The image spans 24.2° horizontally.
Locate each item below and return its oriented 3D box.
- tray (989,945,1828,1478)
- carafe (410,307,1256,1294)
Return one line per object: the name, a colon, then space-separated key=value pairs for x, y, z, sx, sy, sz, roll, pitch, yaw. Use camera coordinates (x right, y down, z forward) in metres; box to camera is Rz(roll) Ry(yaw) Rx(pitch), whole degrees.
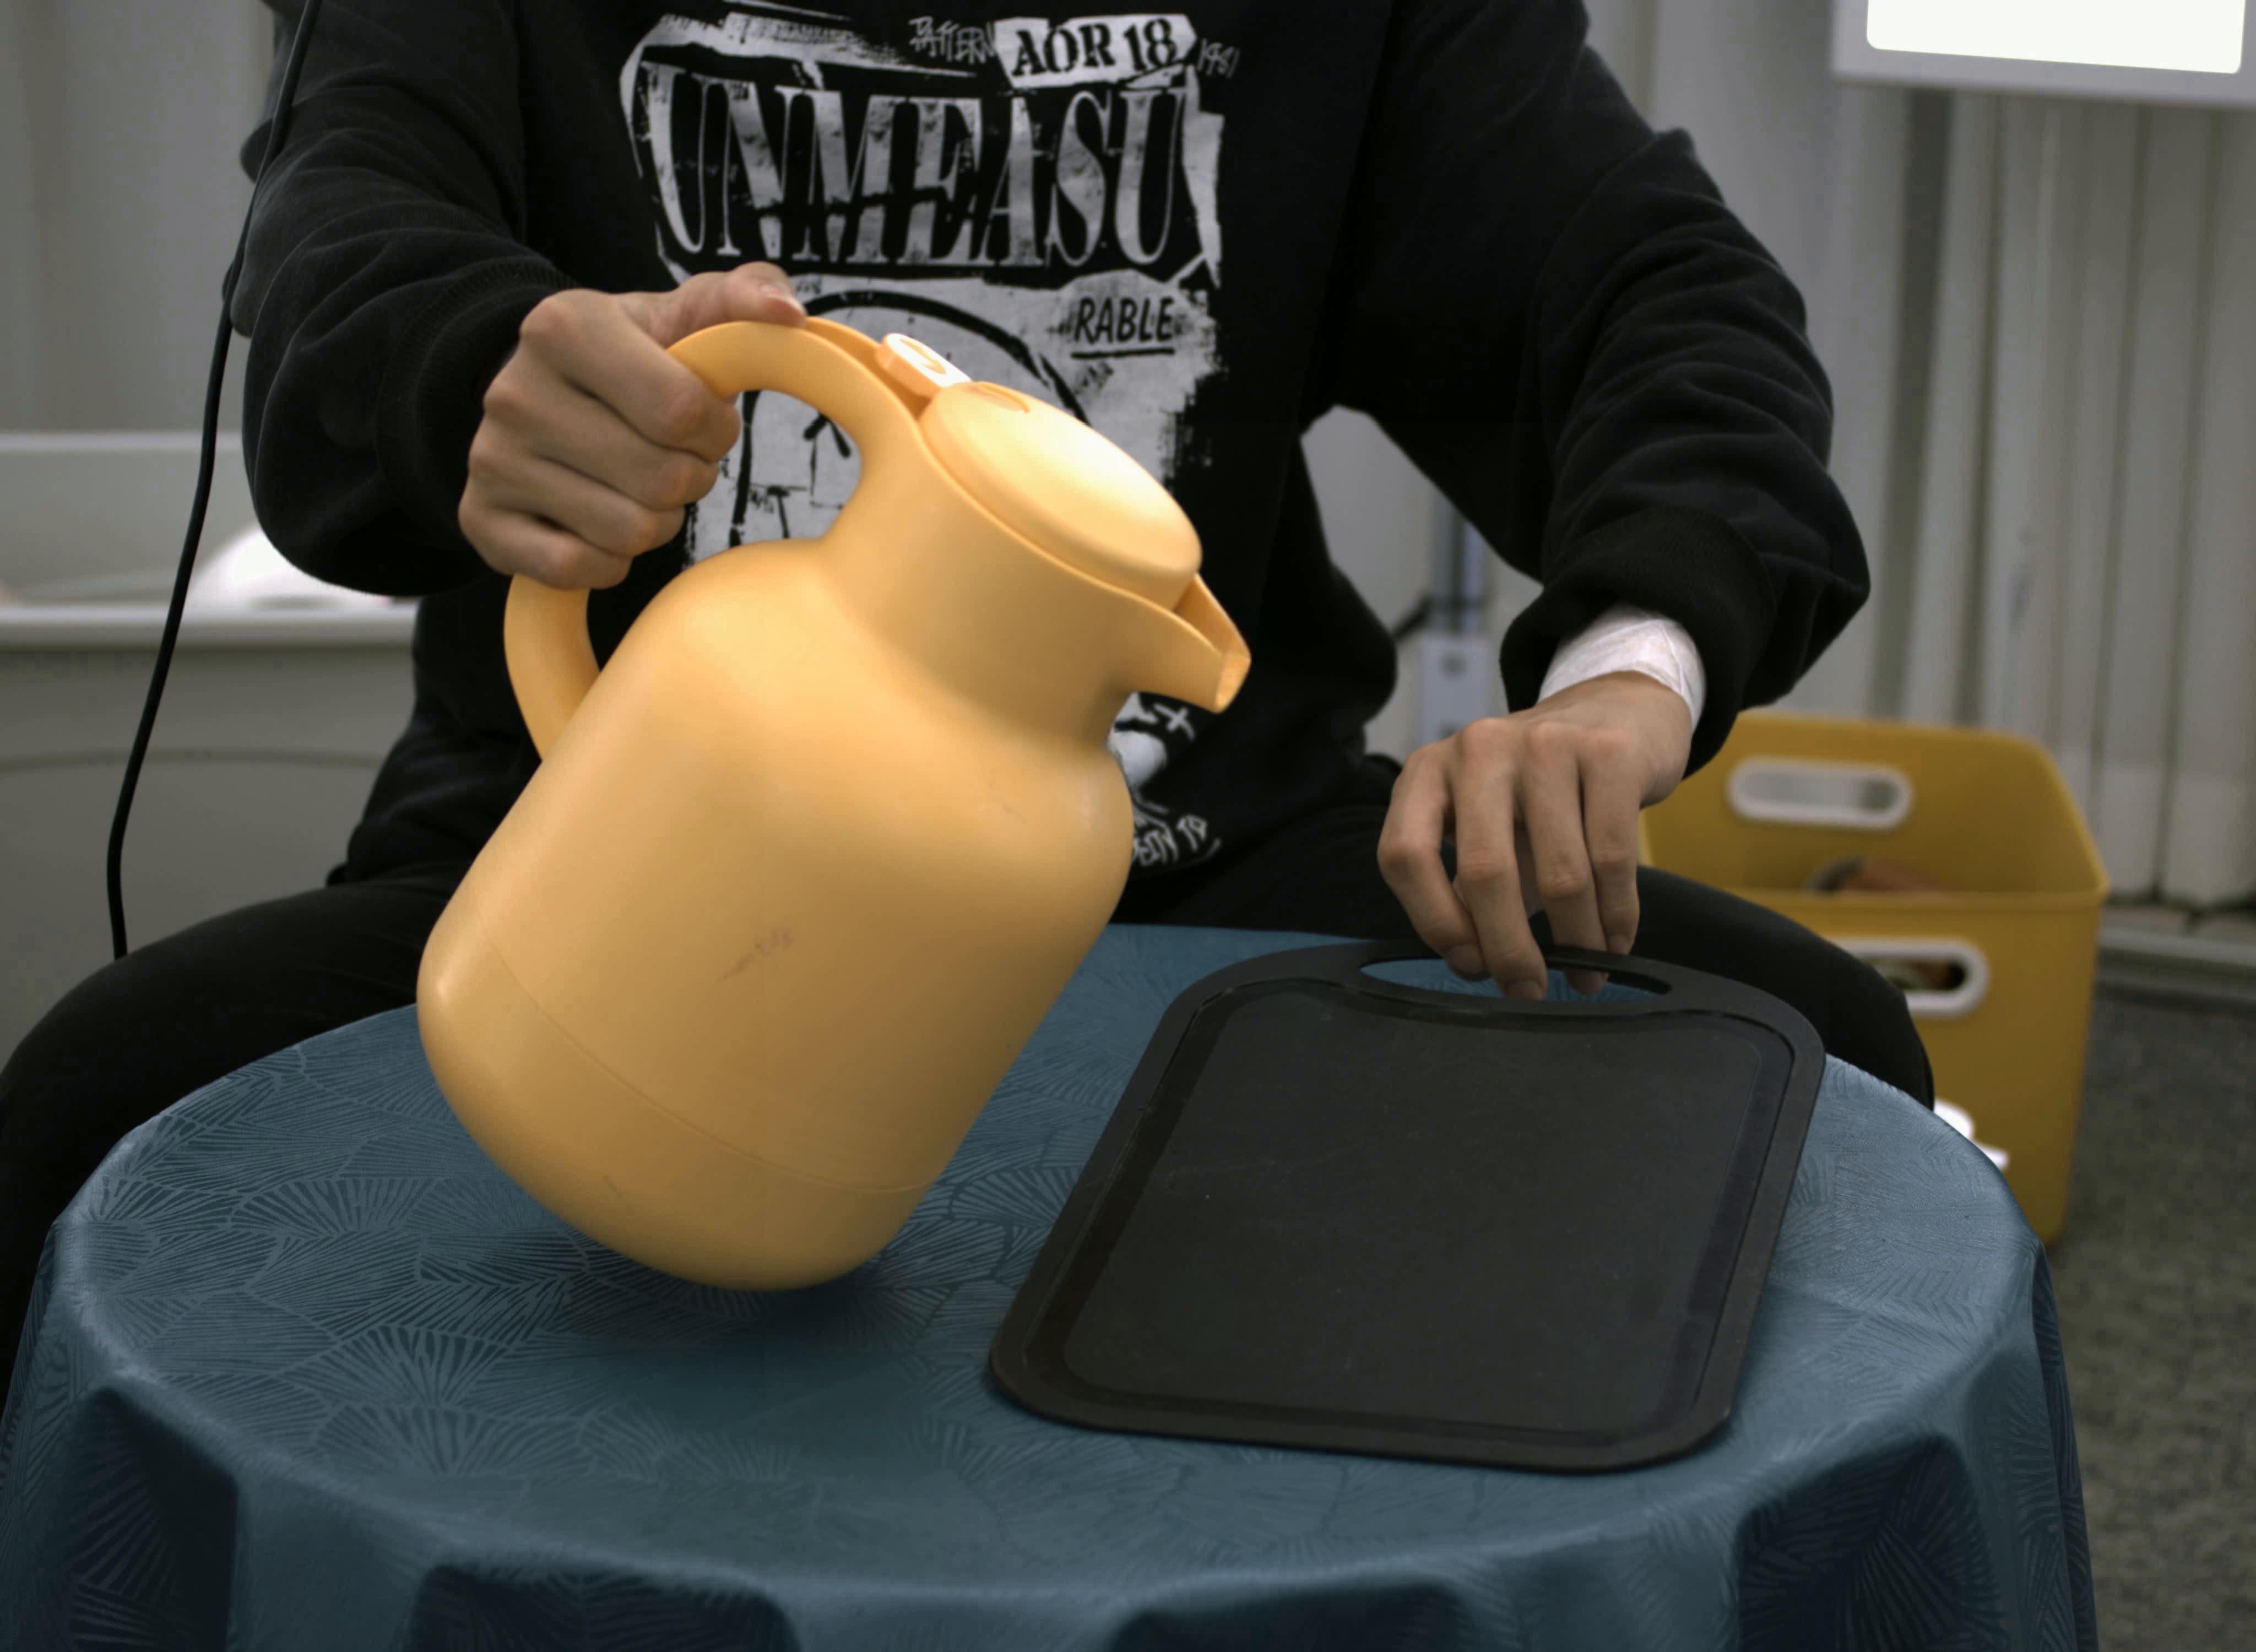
tray: x=0.091 y=0.103 z=1.561 sx=0.209 sy=0.010 sz=0.324 roll=5 pitch=24 yaw=13
carafe: x=-0.095 y=-0.016 z=1.500 sx=0.201 sy=0.261 sz=0.164 roll=40 pitch=18 yaw=13
